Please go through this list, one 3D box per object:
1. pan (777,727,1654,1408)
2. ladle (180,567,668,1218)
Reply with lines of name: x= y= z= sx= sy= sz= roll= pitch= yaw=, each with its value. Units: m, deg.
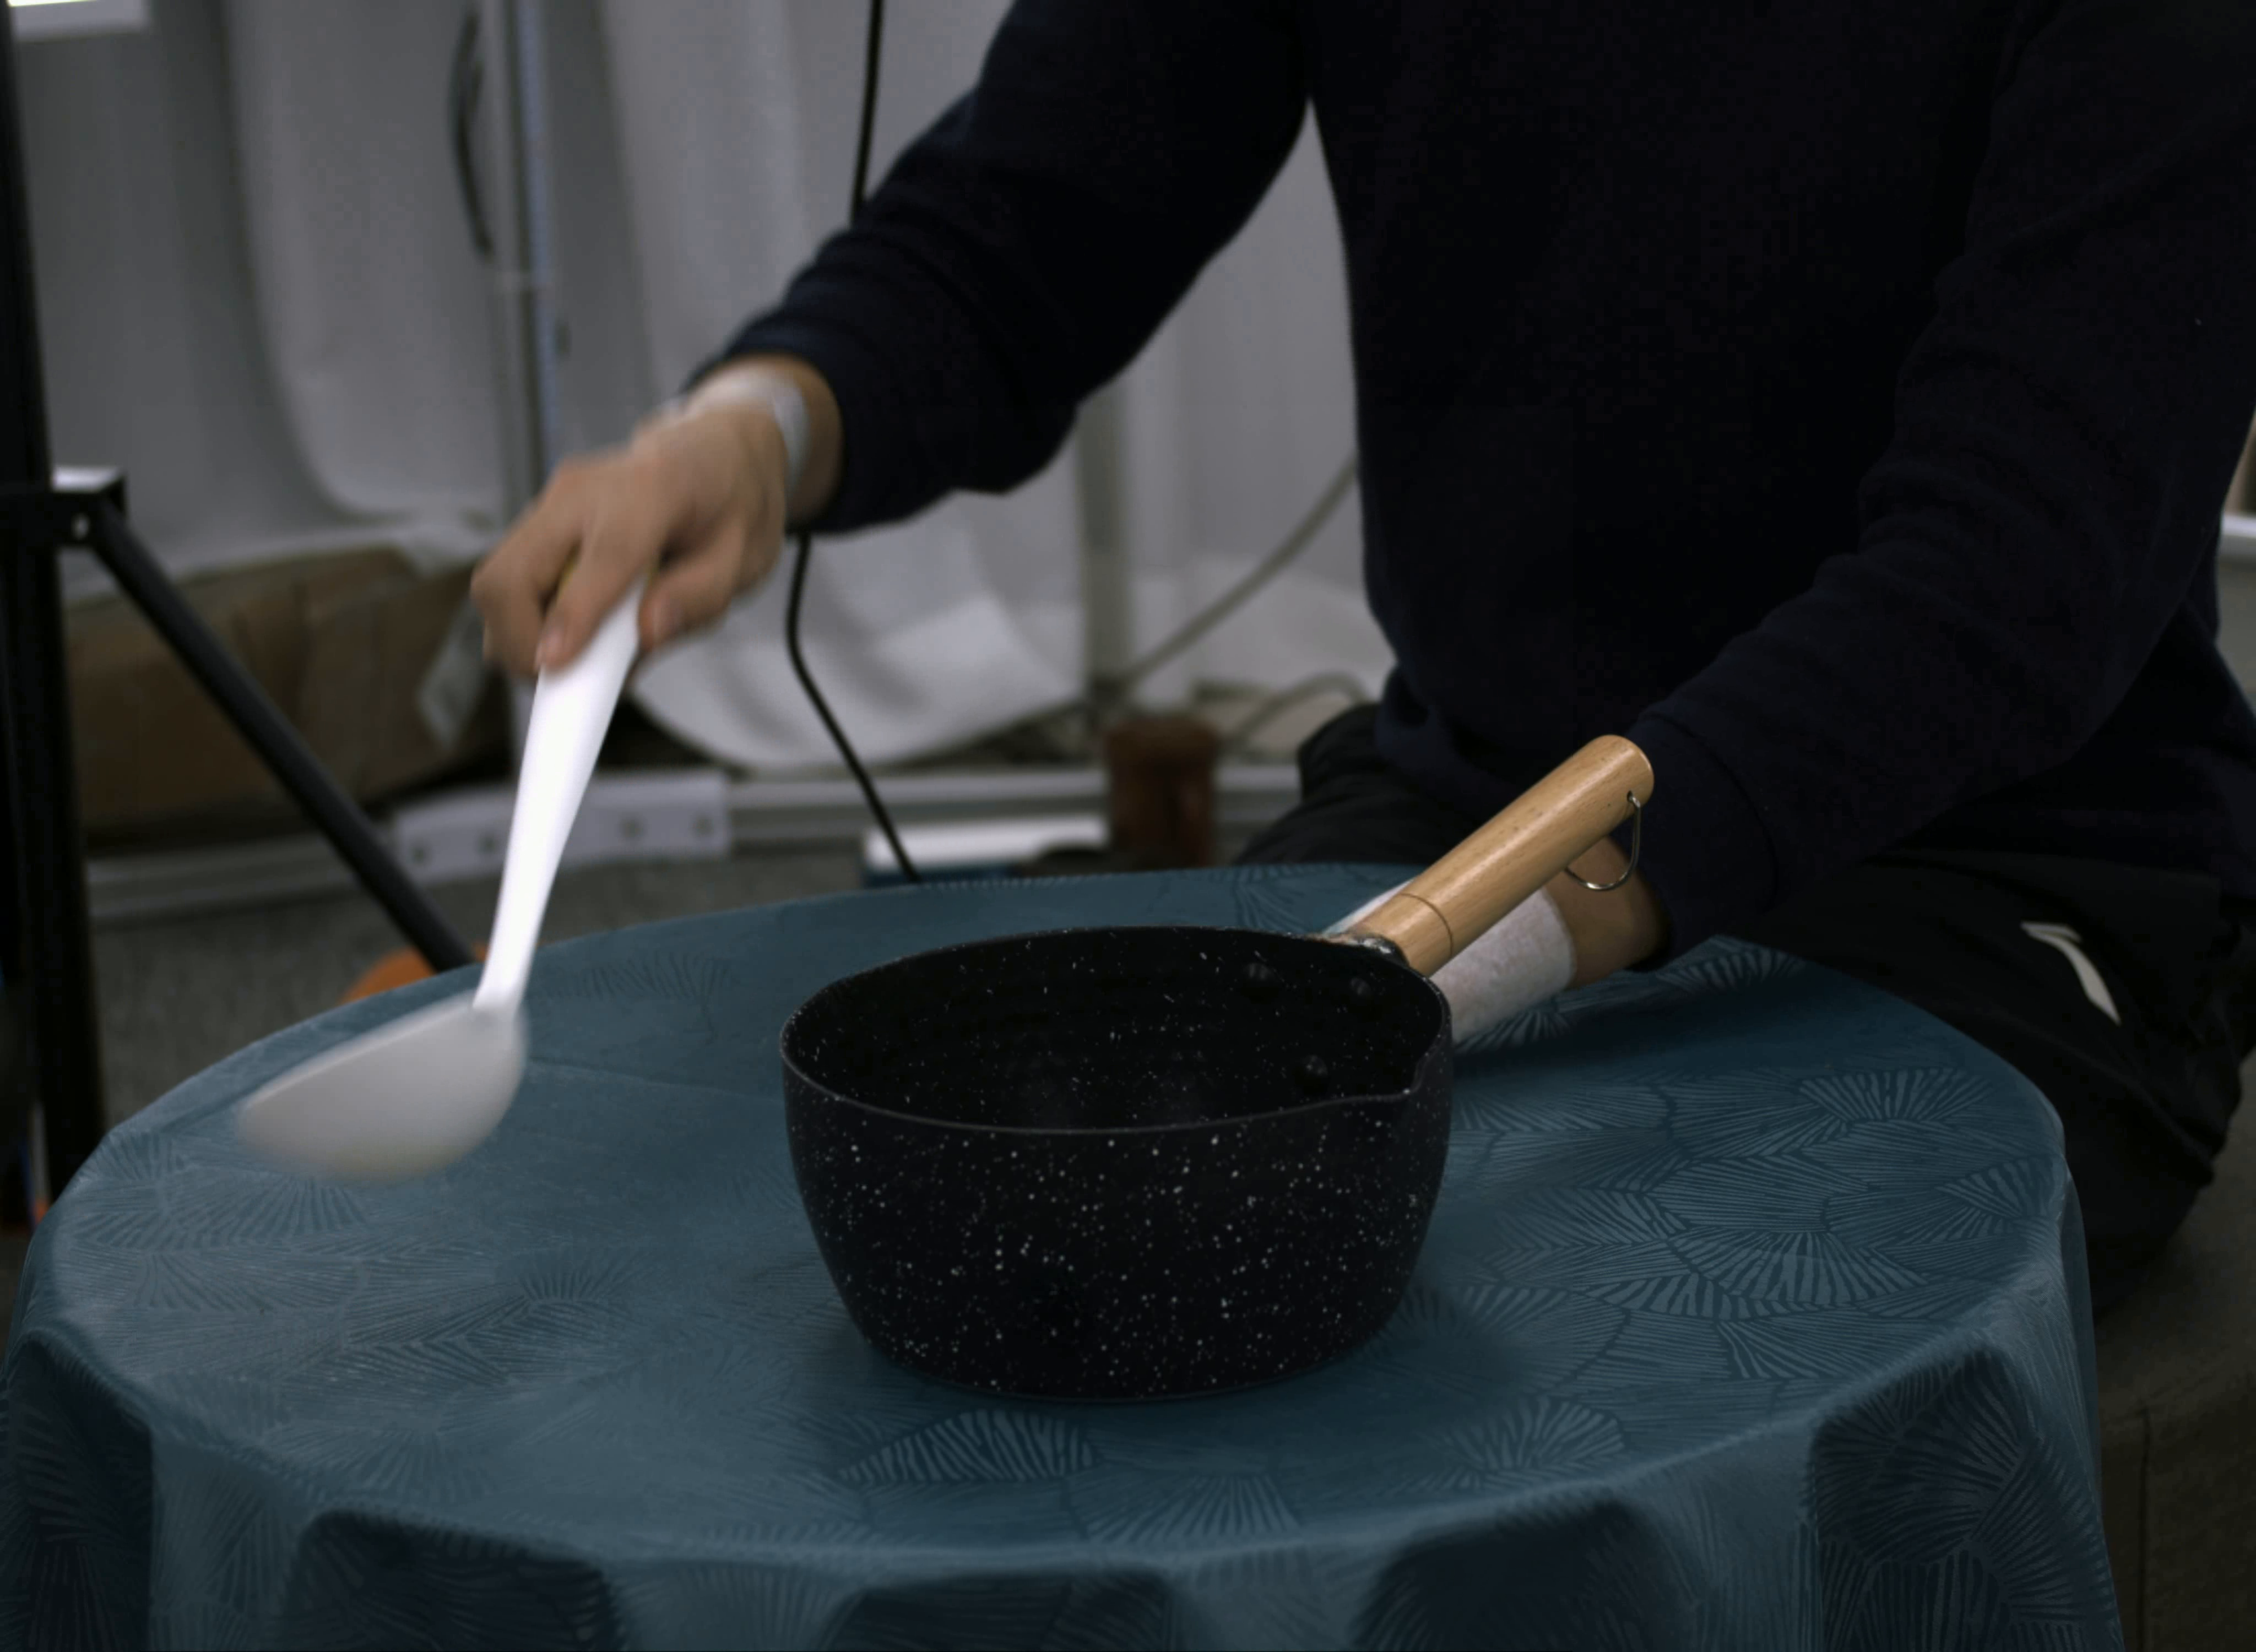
pan: x=0.046 y=0.064 z=1.510 sx=0.212 sy=0.108 sz=0.335 roll=9 pitch=21 yaw=38
ladle: x=-0.196 y=0.010 z=1.557 sx=0.091 sy=0.069 sz=0.294 roll=-36 pitch=24 yaw=33
